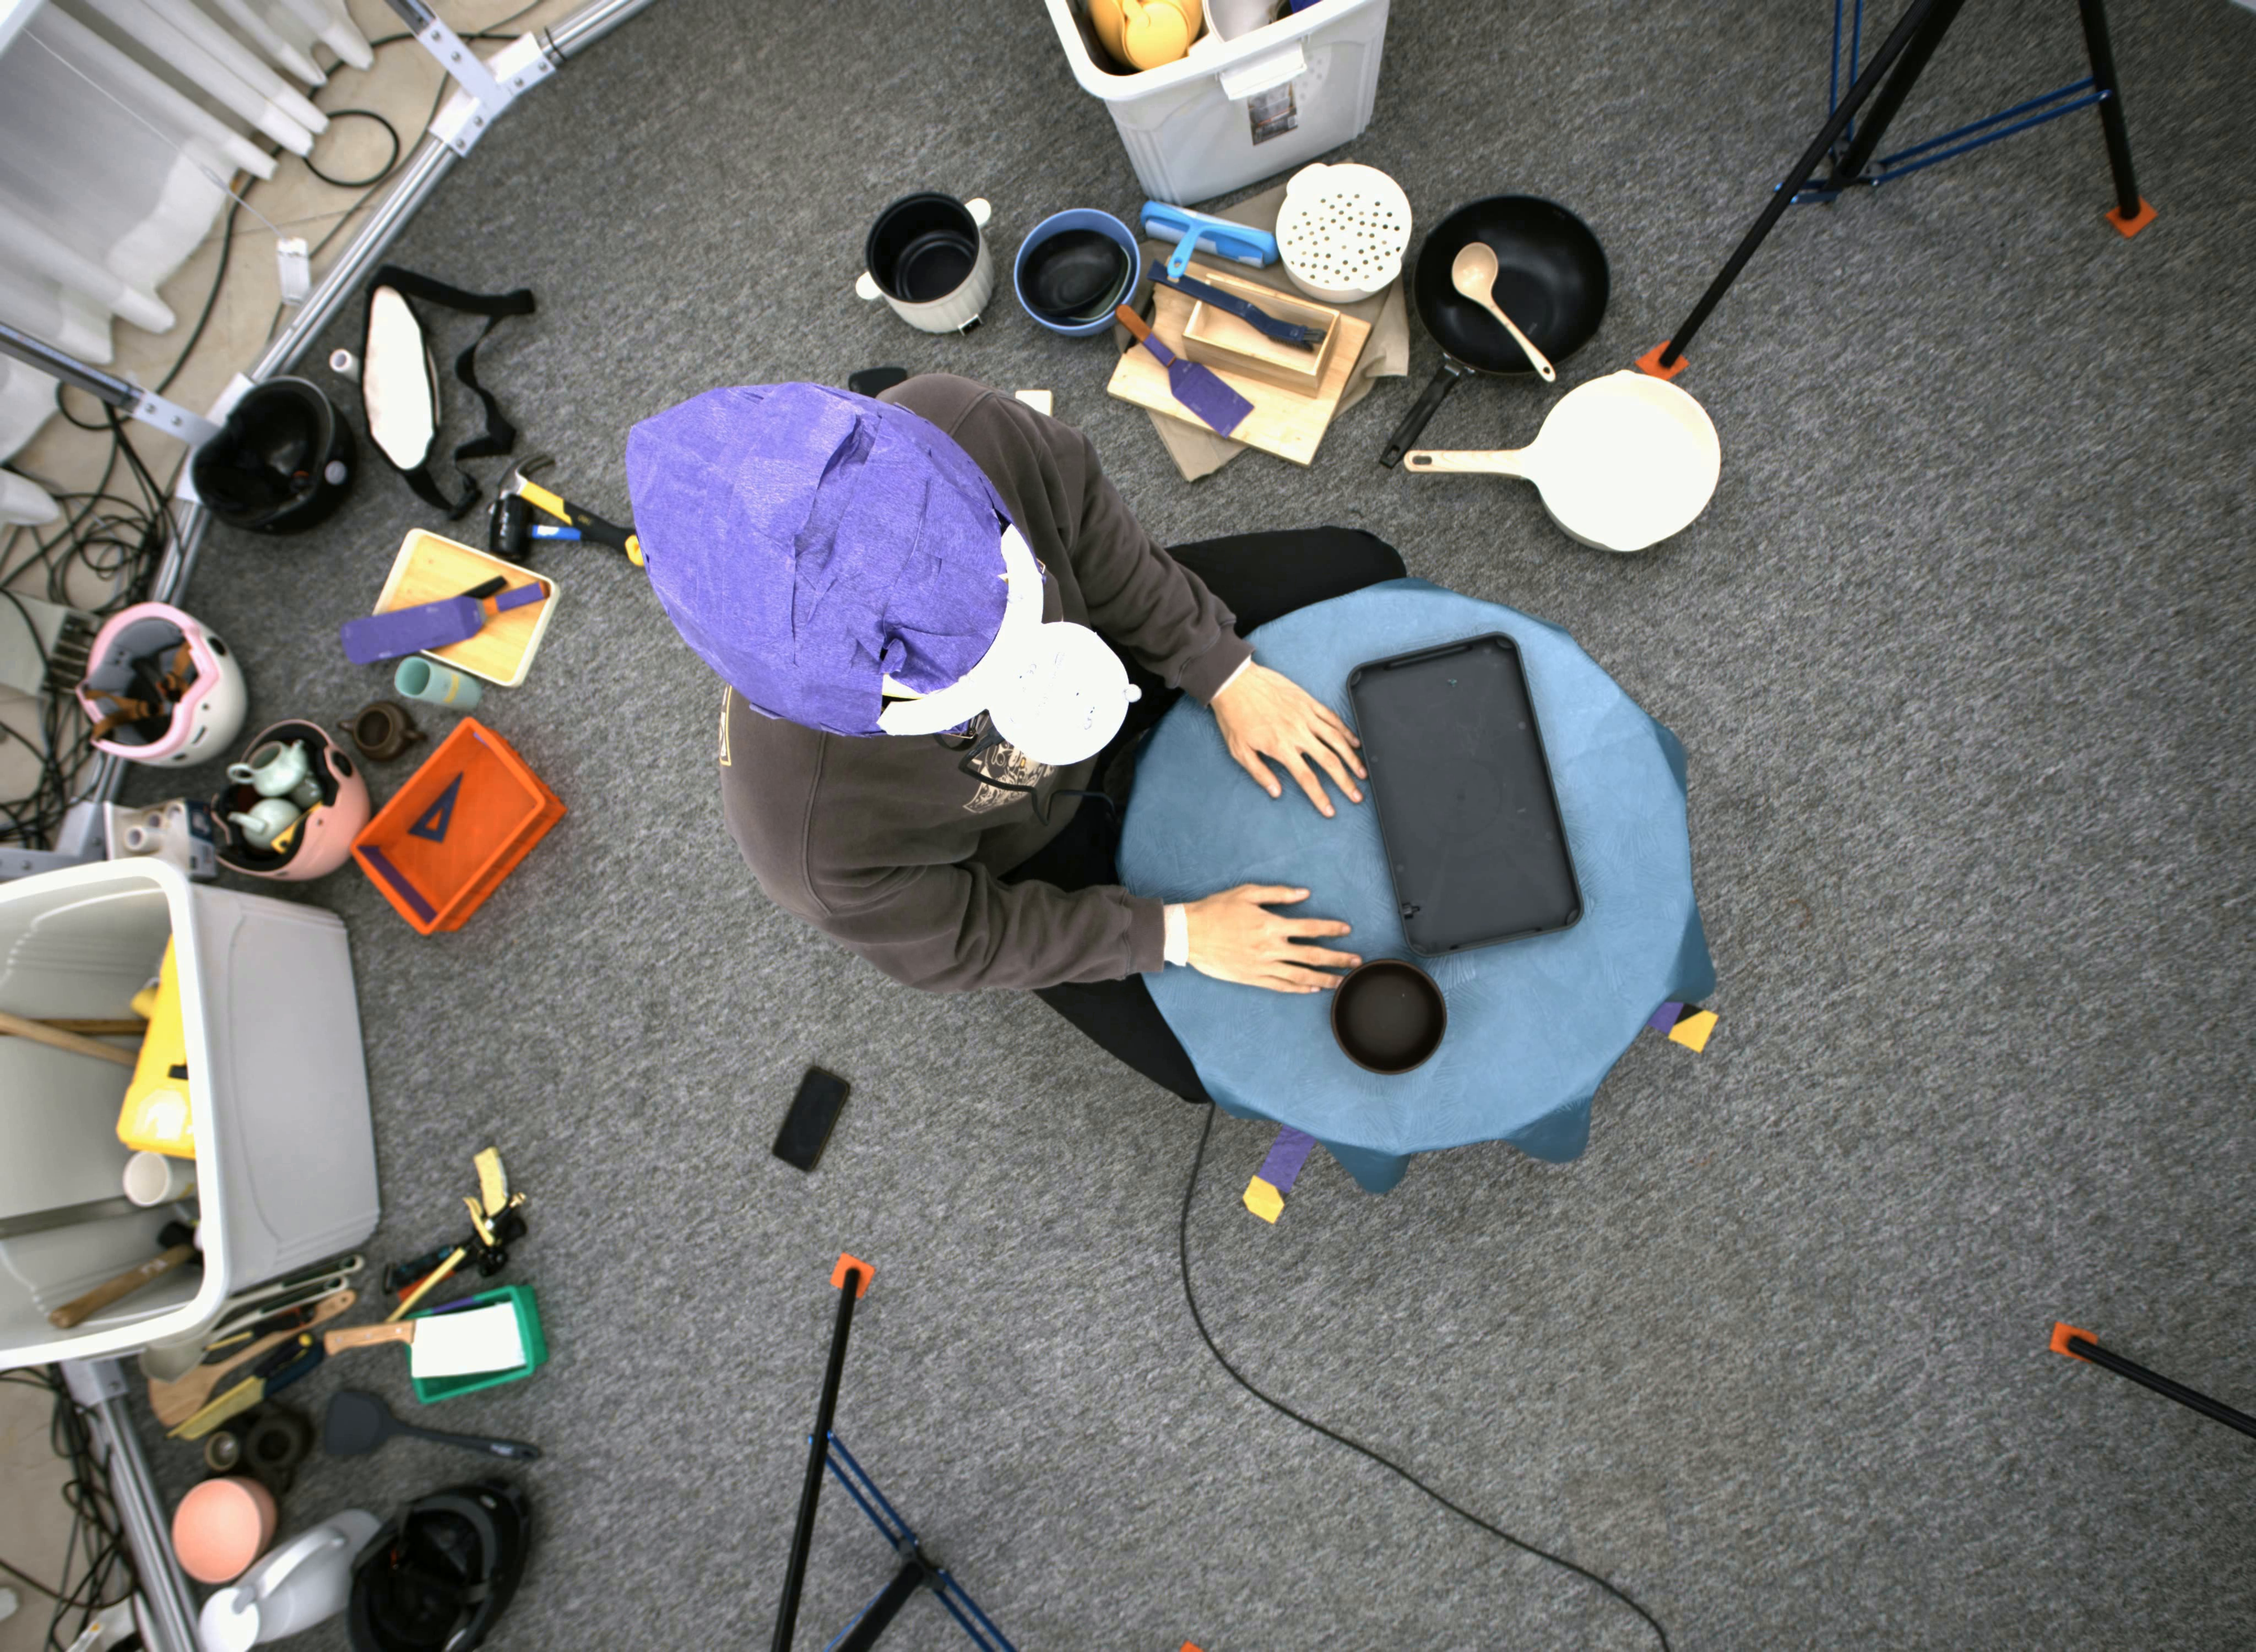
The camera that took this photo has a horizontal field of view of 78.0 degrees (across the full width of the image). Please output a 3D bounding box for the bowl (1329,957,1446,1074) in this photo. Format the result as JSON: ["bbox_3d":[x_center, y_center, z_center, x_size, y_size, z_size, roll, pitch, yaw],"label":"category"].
[{"bbox_3d":[0.266,0.192,1.416,0.118,0.070,0.117,-1,86,12],"label":"bowl"}]

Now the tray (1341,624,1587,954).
[{"bbox_3d":[0.347,-0.040,1.431,0.185,0.037,0.316,-15,85,10],"label":"tray"}]
